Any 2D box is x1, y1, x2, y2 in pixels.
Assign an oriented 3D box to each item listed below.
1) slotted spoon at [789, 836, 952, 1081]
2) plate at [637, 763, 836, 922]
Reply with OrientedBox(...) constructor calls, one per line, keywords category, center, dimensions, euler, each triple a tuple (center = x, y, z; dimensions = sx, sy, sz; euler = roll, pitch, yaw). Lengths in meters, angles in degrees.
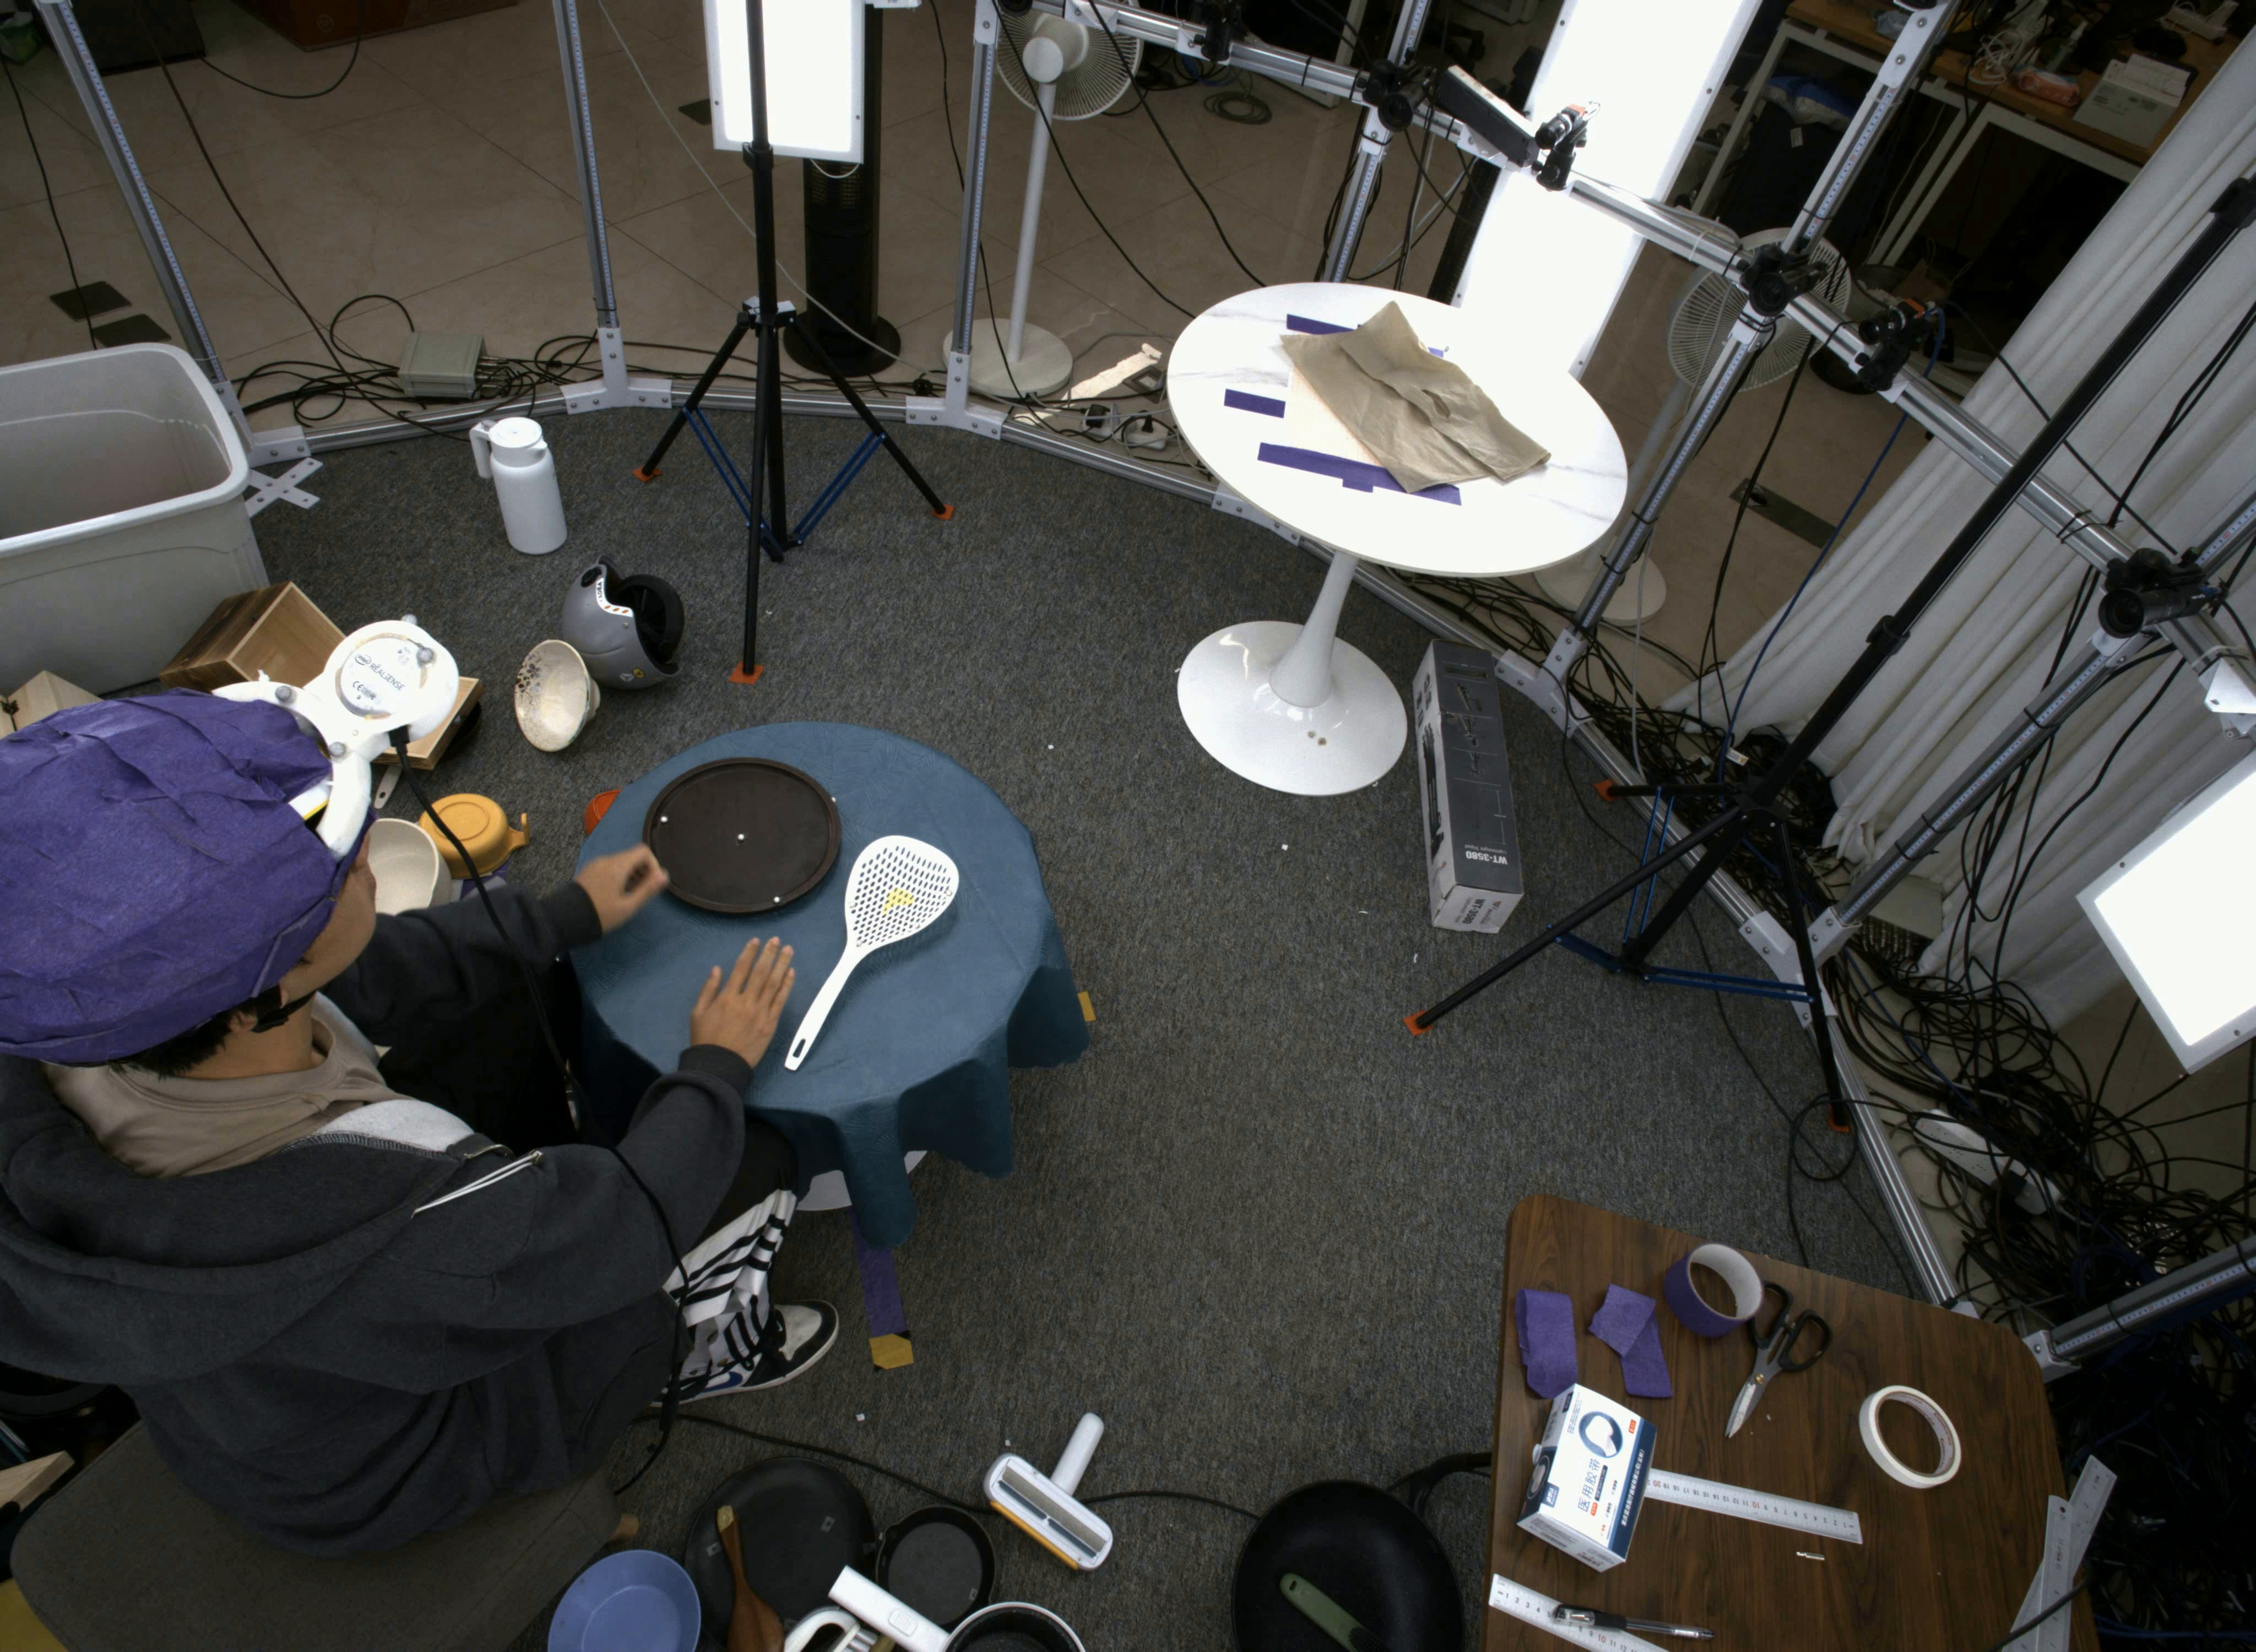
OrientedBox(category="slotted spoon", center=(-0.337, 0.156, 1.608), dimensions=(0.135, 0.051, 0.345), euler=(25, 52, 2))
OrientedBox(category="plate", center=(-0.508, 0.018, 1.679), dimensions=(0.254, 0.029, 0.250), euler=(8, 53, -10))
